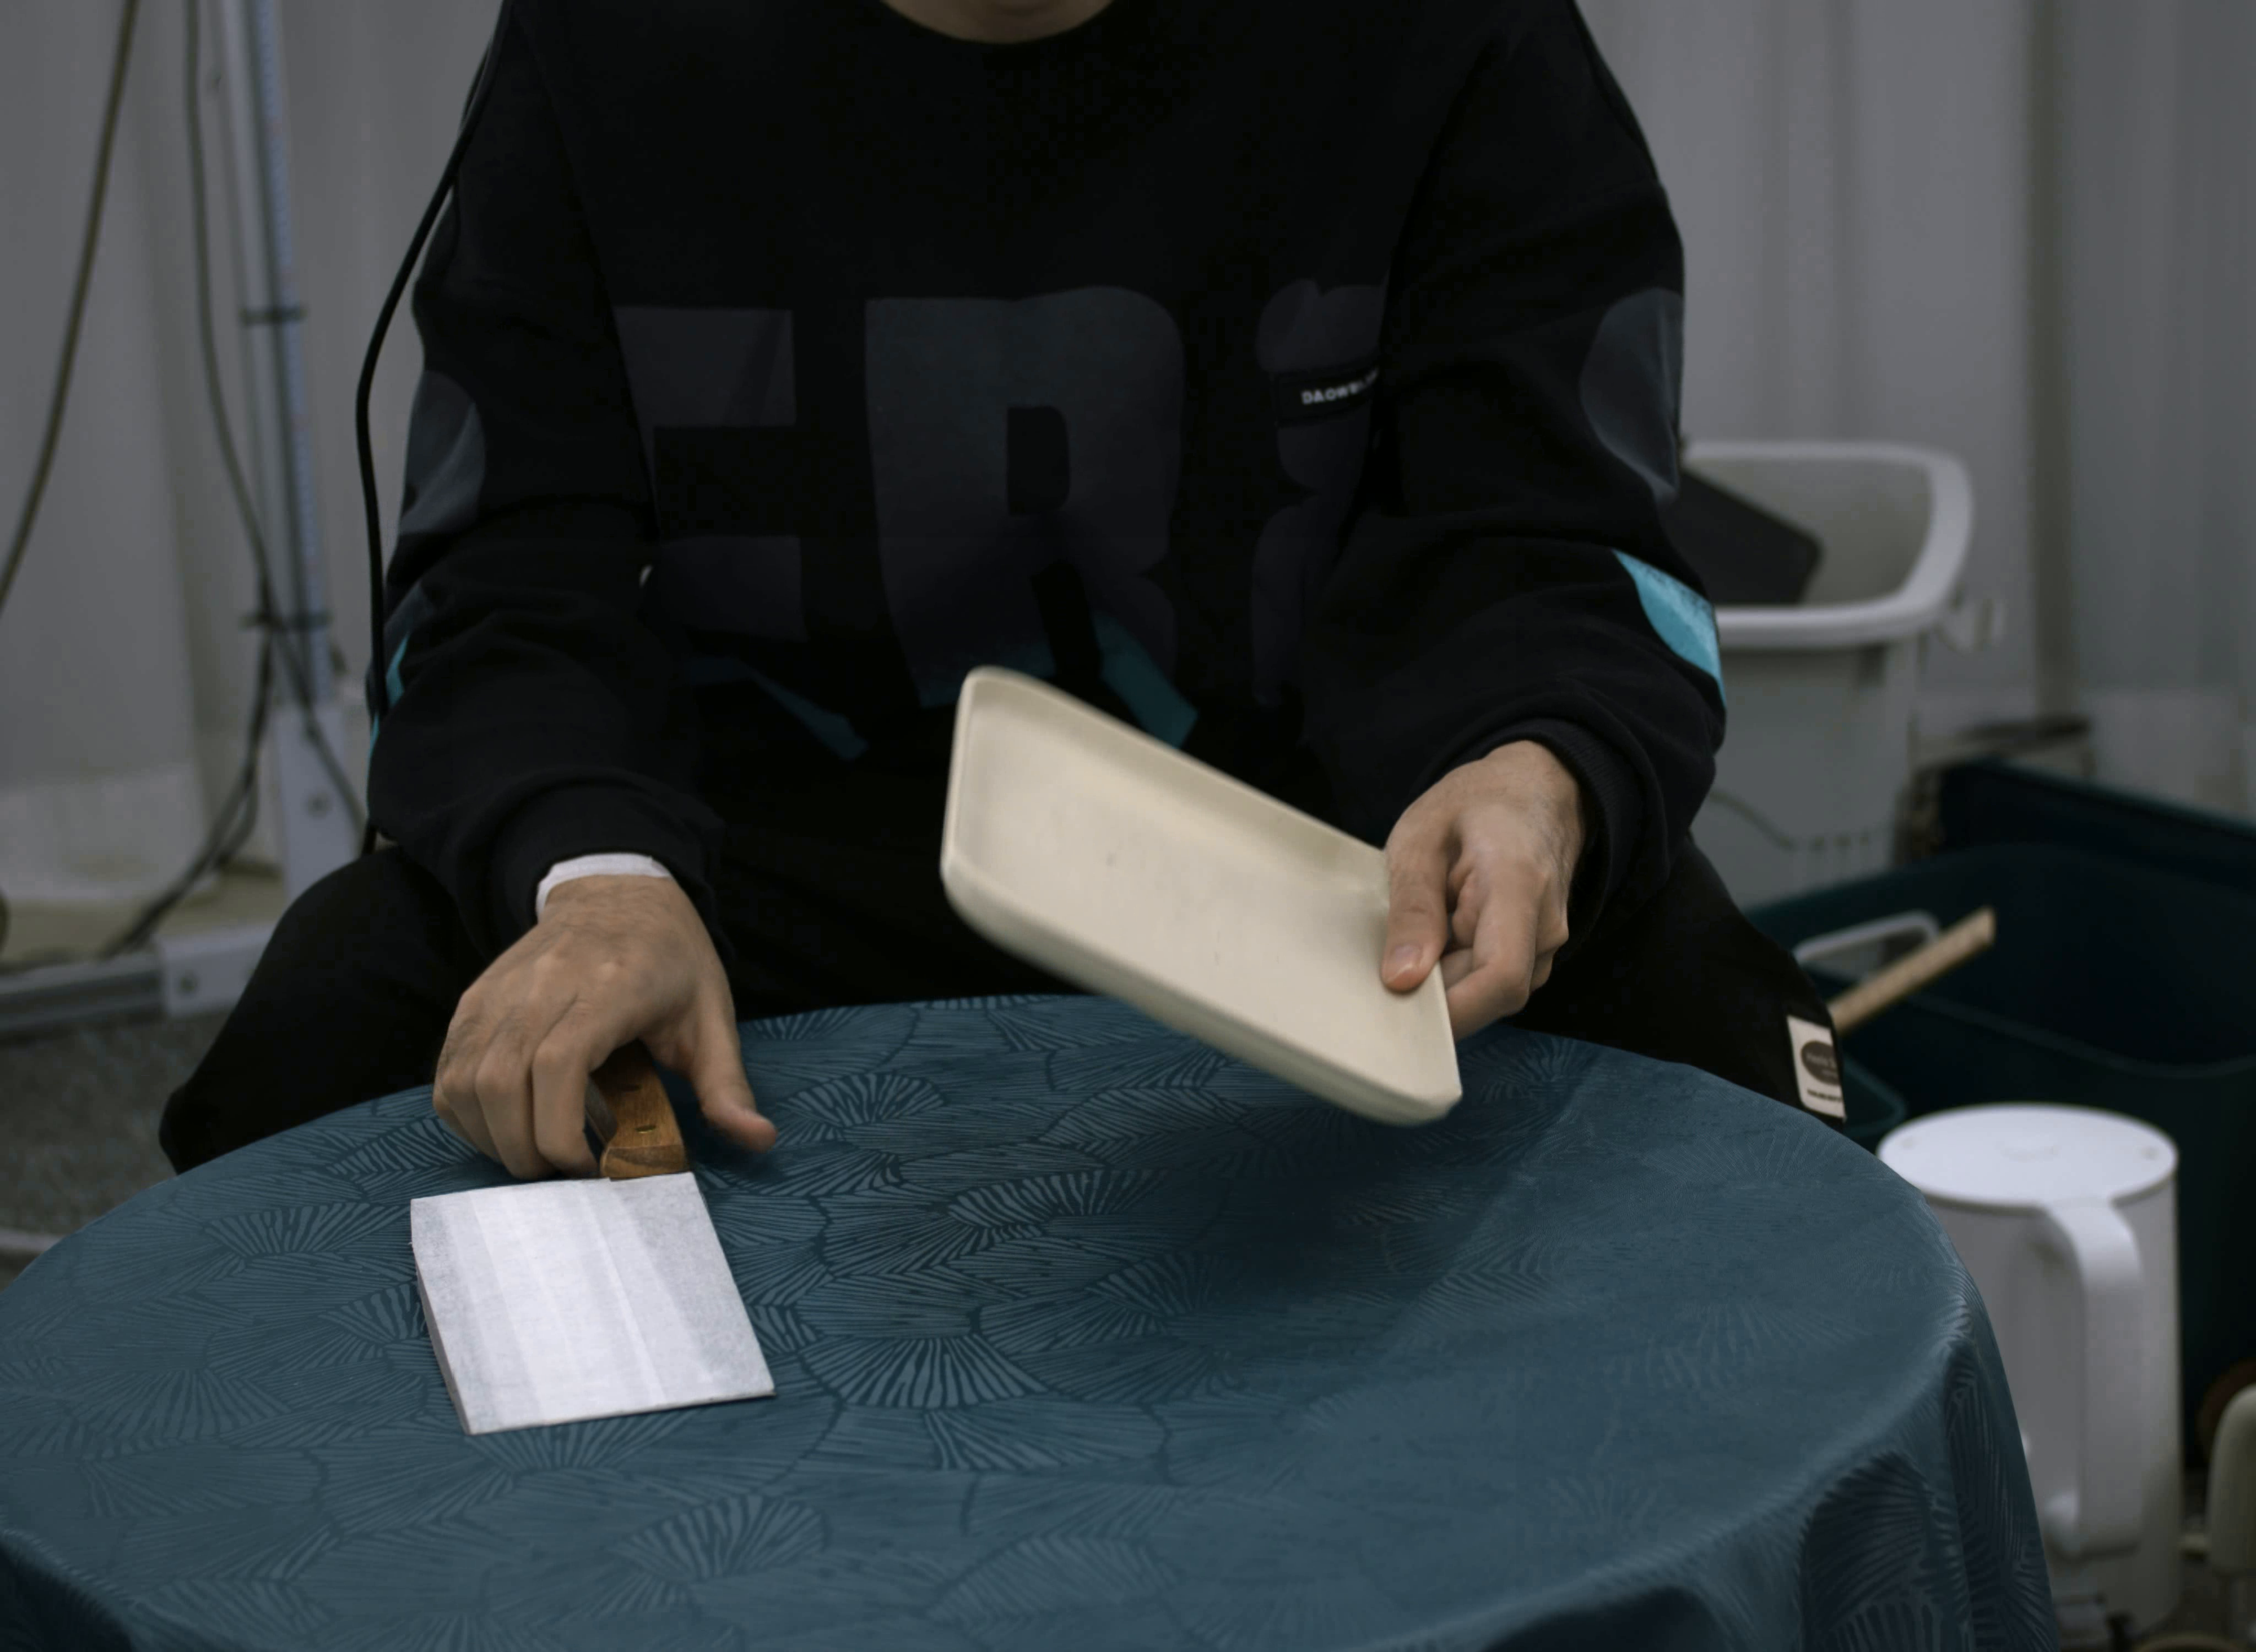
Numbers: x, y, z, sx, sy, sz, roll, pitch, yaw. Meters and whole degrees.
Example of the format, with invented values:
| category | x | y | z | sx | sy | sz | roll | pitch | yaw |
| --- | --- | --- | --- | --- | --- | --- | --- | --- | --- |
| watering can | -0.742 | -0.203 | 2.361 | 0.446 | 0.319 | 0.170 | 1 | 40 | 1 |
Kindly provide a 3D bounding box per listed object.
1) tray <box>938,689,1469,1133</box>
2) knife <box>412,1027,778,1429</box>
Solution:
| category | x | y | z | sx | sy | sz | roll | pitch | yaw |
| --- | --- | --- | --- | --- | --- | --- | --- | --- | --- |
| tray | 0.019 | 0.025 | 1.682 | 0.170 | 0.017 | 0.241 | 23 | 16 | -7 |
| knife | -0.173 | 0.123 | 1.689 | 0.092 | 0.021 | 0.308 | -7 | 18 | -10 |
